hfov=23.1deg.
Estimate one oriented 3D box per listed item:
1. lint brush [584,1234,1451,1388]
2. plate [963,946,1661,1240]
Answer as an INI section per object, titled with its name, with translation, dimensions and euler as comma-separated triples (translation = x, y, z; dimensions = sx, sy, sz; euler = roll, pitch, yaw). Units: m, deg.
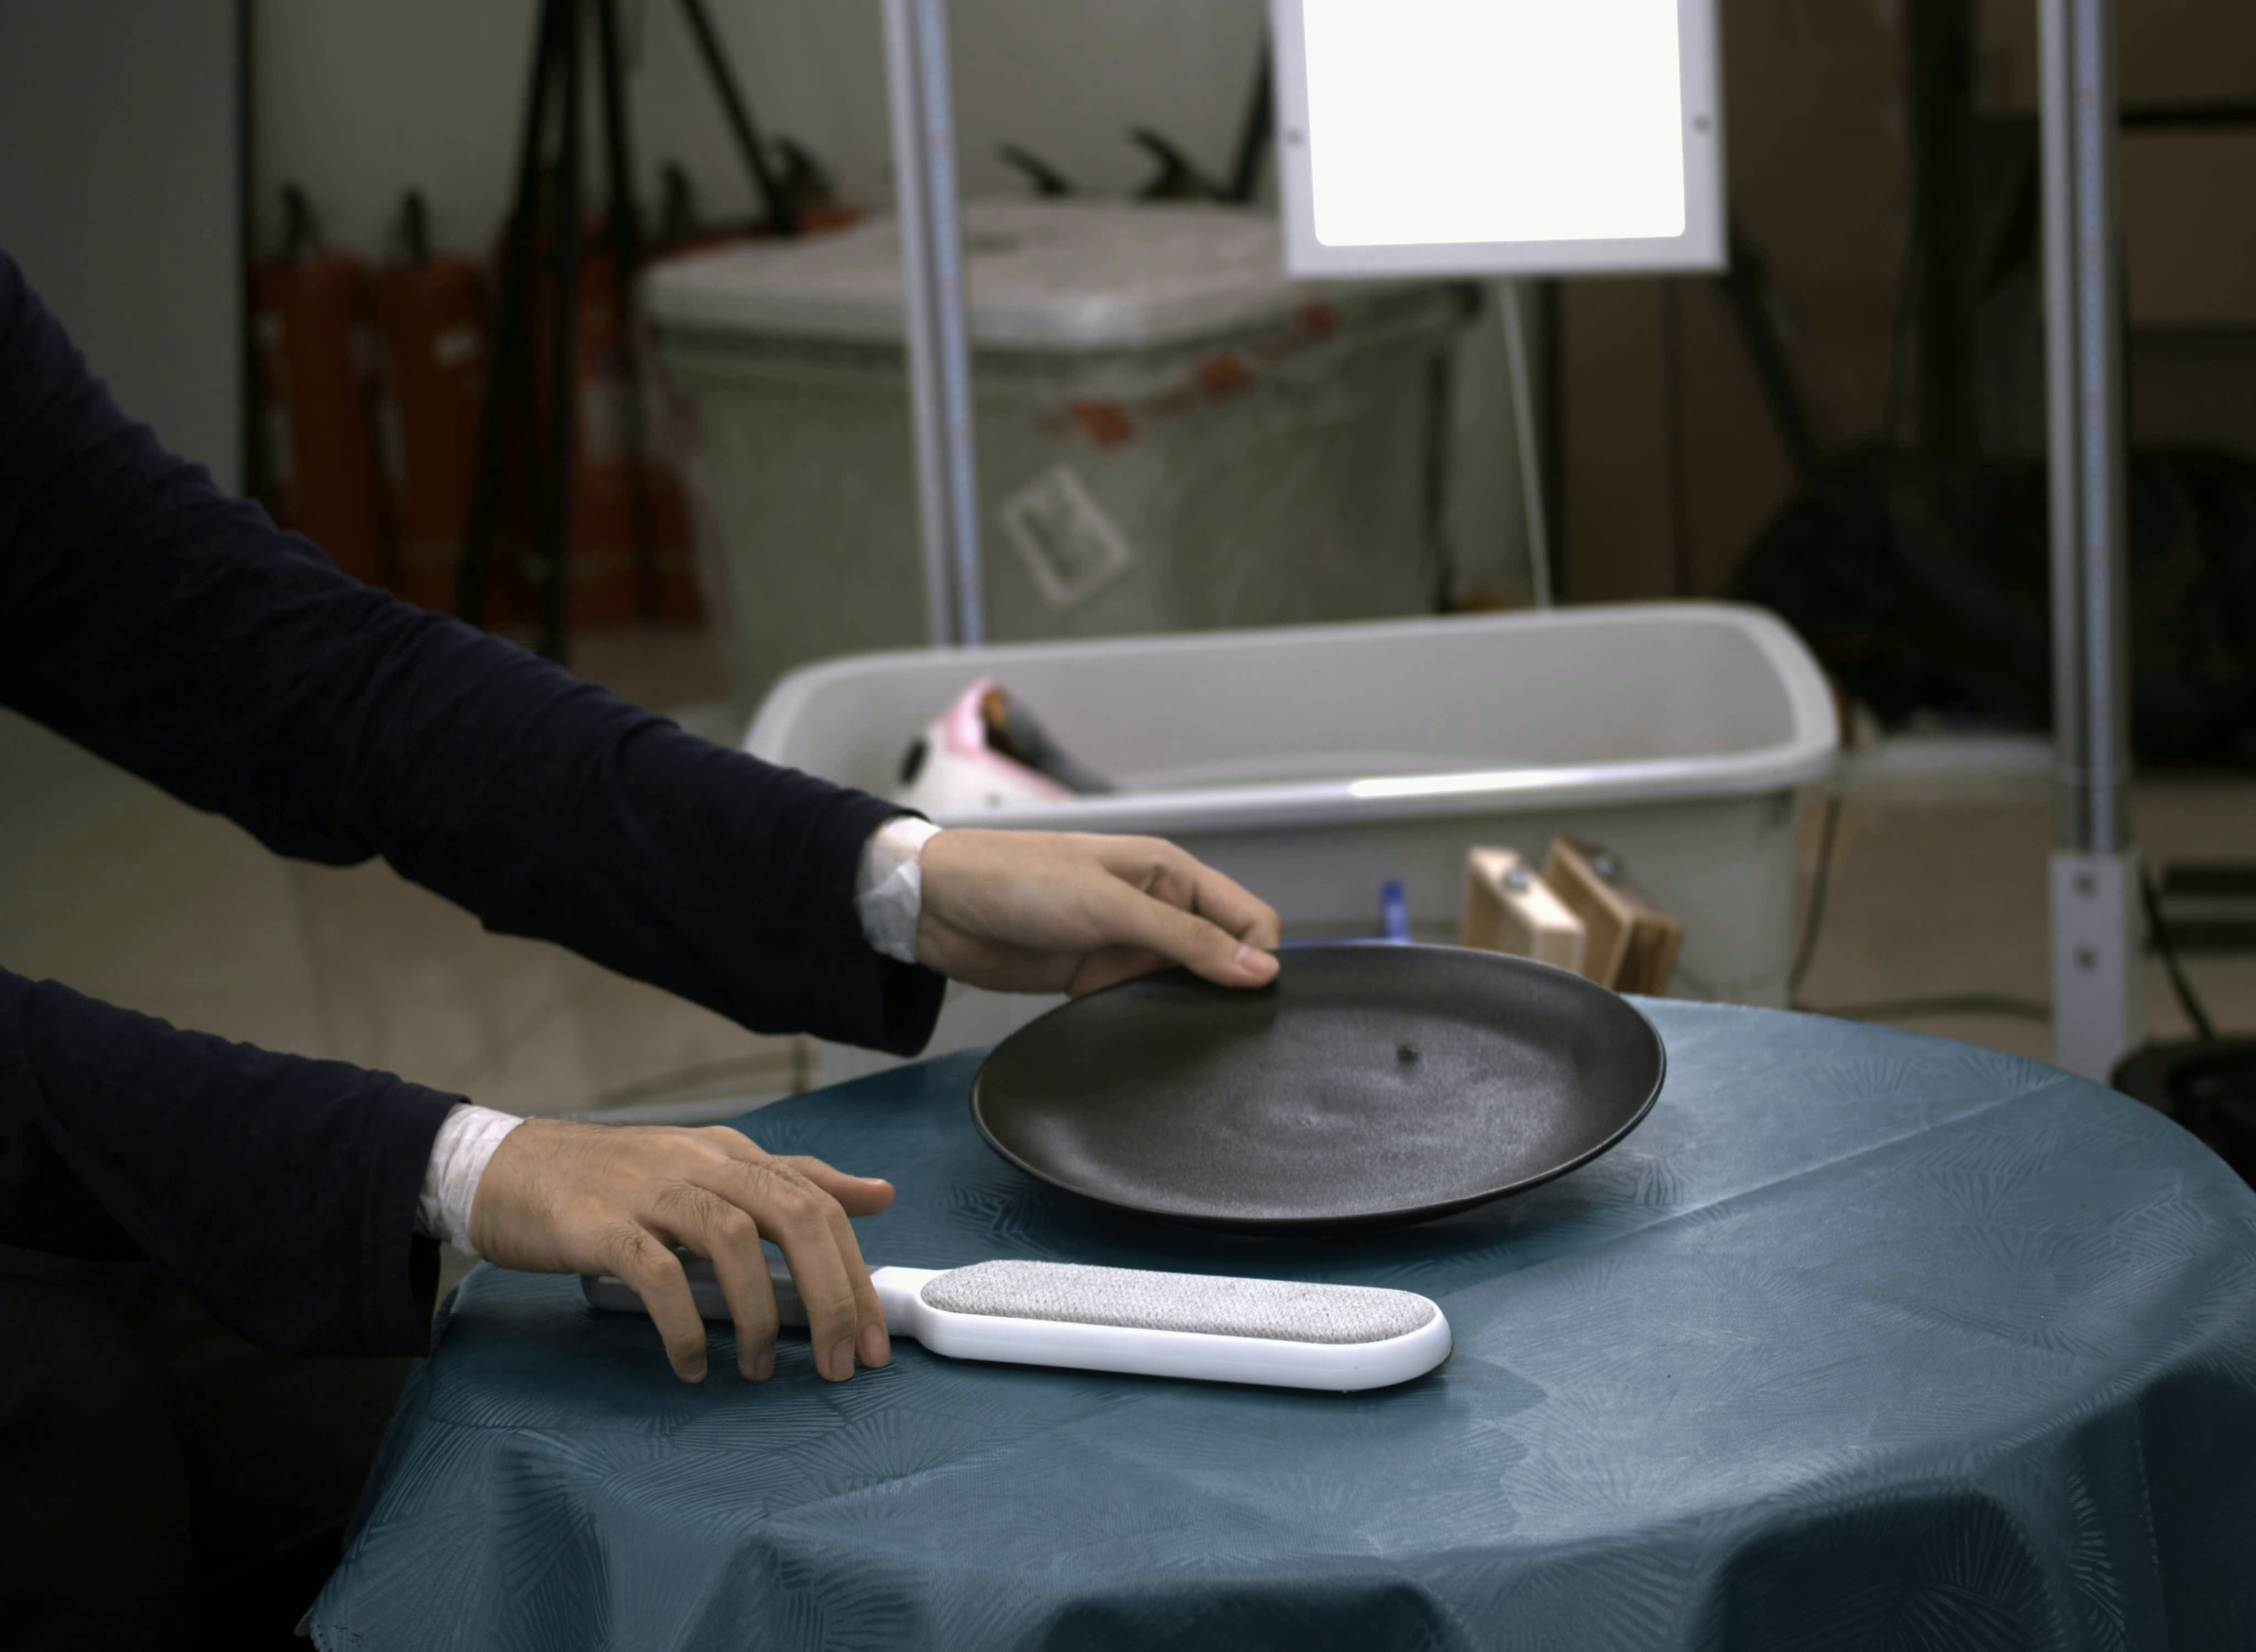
[lint brush]
translation = -0.041, 0.151, 1.761
dimensions = 0.314, 0.021, 0.059
euler = 2, 21, 29
[plate]
translation = 0.065, 0.096, 1.913
dimensions = 0.244, 0.023, 0.244
euler = -5, 20, 0
